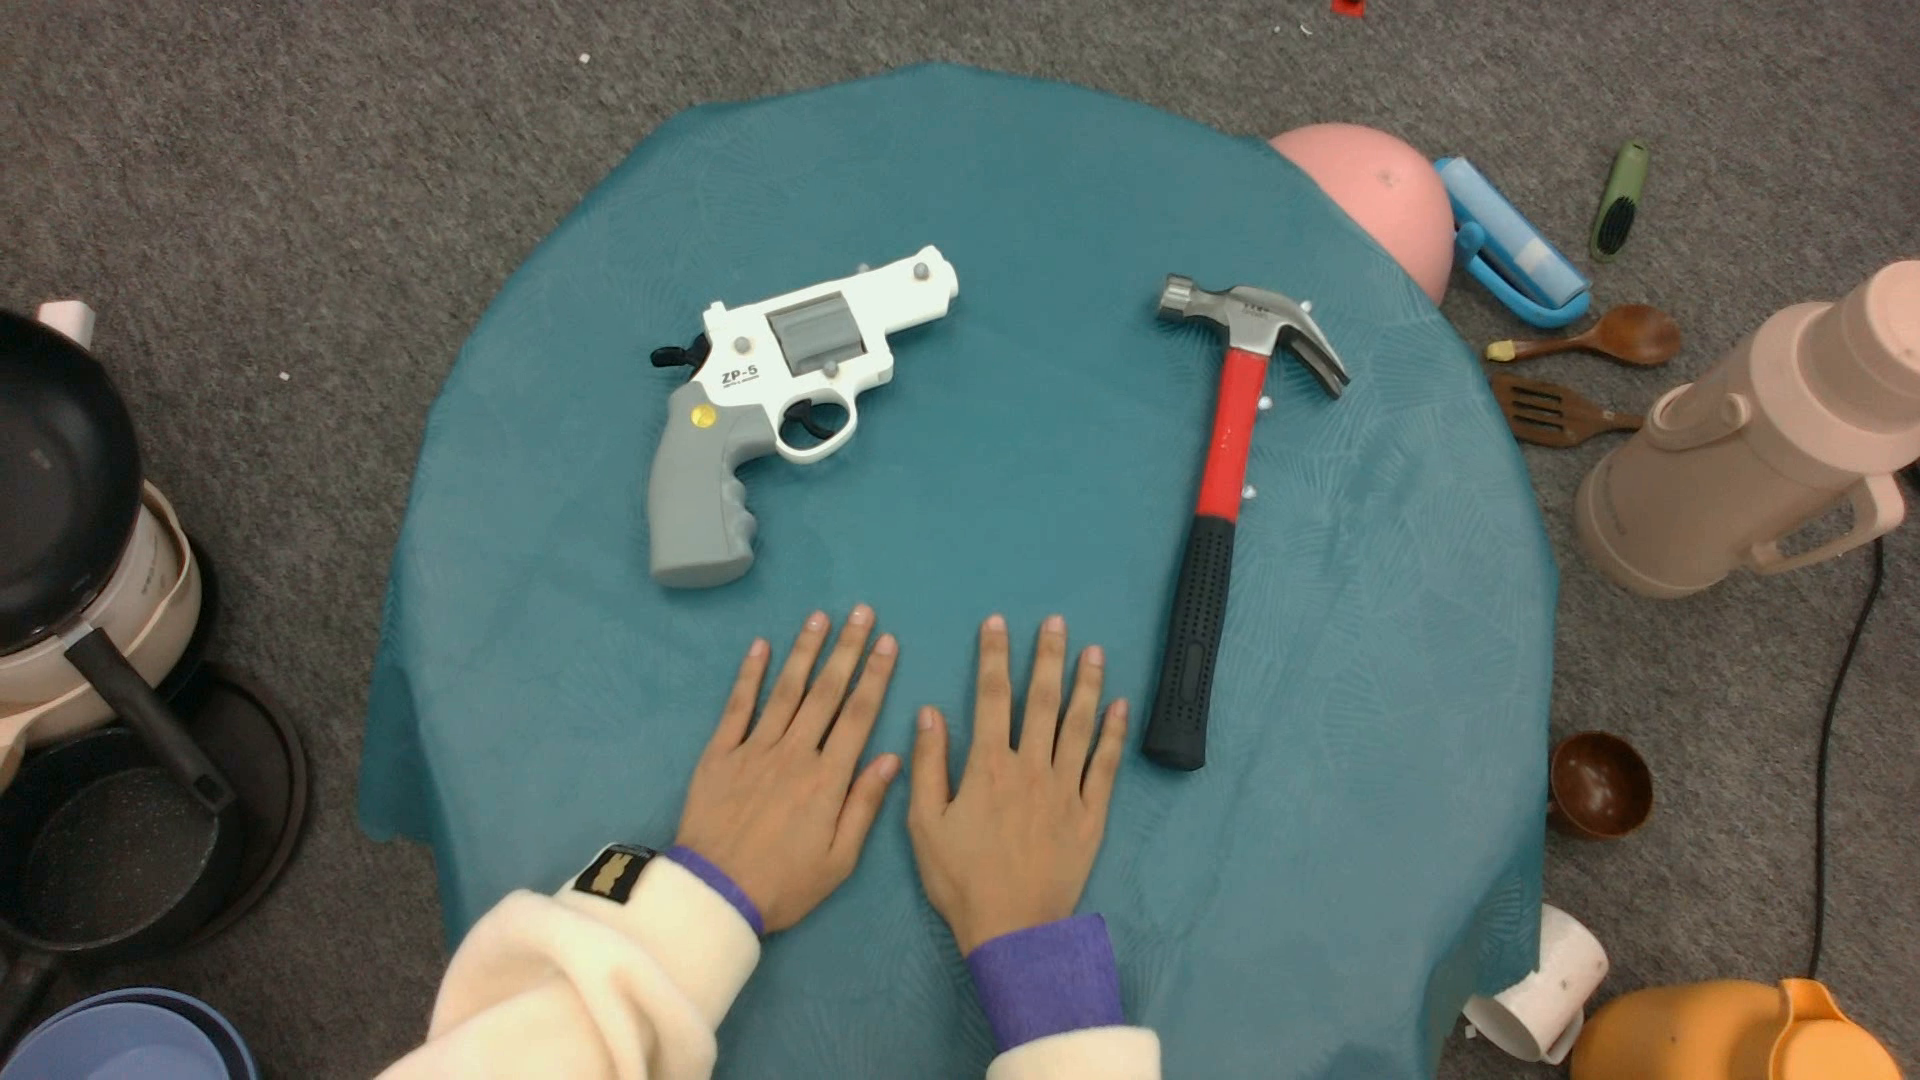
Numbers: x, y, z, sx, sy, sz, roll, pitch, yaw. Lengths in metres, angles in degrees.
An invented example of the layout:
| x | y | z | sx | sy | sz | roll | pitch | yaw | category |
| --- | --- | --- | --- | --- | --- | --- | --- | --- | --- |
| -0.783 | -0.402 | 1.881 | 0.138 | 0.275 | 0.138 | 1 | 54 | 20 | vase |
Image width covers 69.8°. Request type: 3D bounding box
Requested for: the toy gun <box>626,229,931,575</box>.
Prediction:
| x | y | z | sx | sy | sz | roll | pitch | yaw | category |
| --- | --- | --- | --- | --- | --- | --- | --- | --- | --- |
| -0.091 | -0.077 | 0.713 | 0.209 | 0.038 | 0.142 | -23 | 70 | -15 | toy gun |

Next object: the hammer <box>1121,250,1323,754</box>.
| x | y | z | sx | sy | sz | roll | pitch | yaw | category |
| --- | --- | --- | --- | --- | --- | --- | --- | --- | --- |
| 0.125 | -0.022 | 0.724 | 0.111 | 0.026 | 0.278 | 18 | 66 | -9 | hammer |
